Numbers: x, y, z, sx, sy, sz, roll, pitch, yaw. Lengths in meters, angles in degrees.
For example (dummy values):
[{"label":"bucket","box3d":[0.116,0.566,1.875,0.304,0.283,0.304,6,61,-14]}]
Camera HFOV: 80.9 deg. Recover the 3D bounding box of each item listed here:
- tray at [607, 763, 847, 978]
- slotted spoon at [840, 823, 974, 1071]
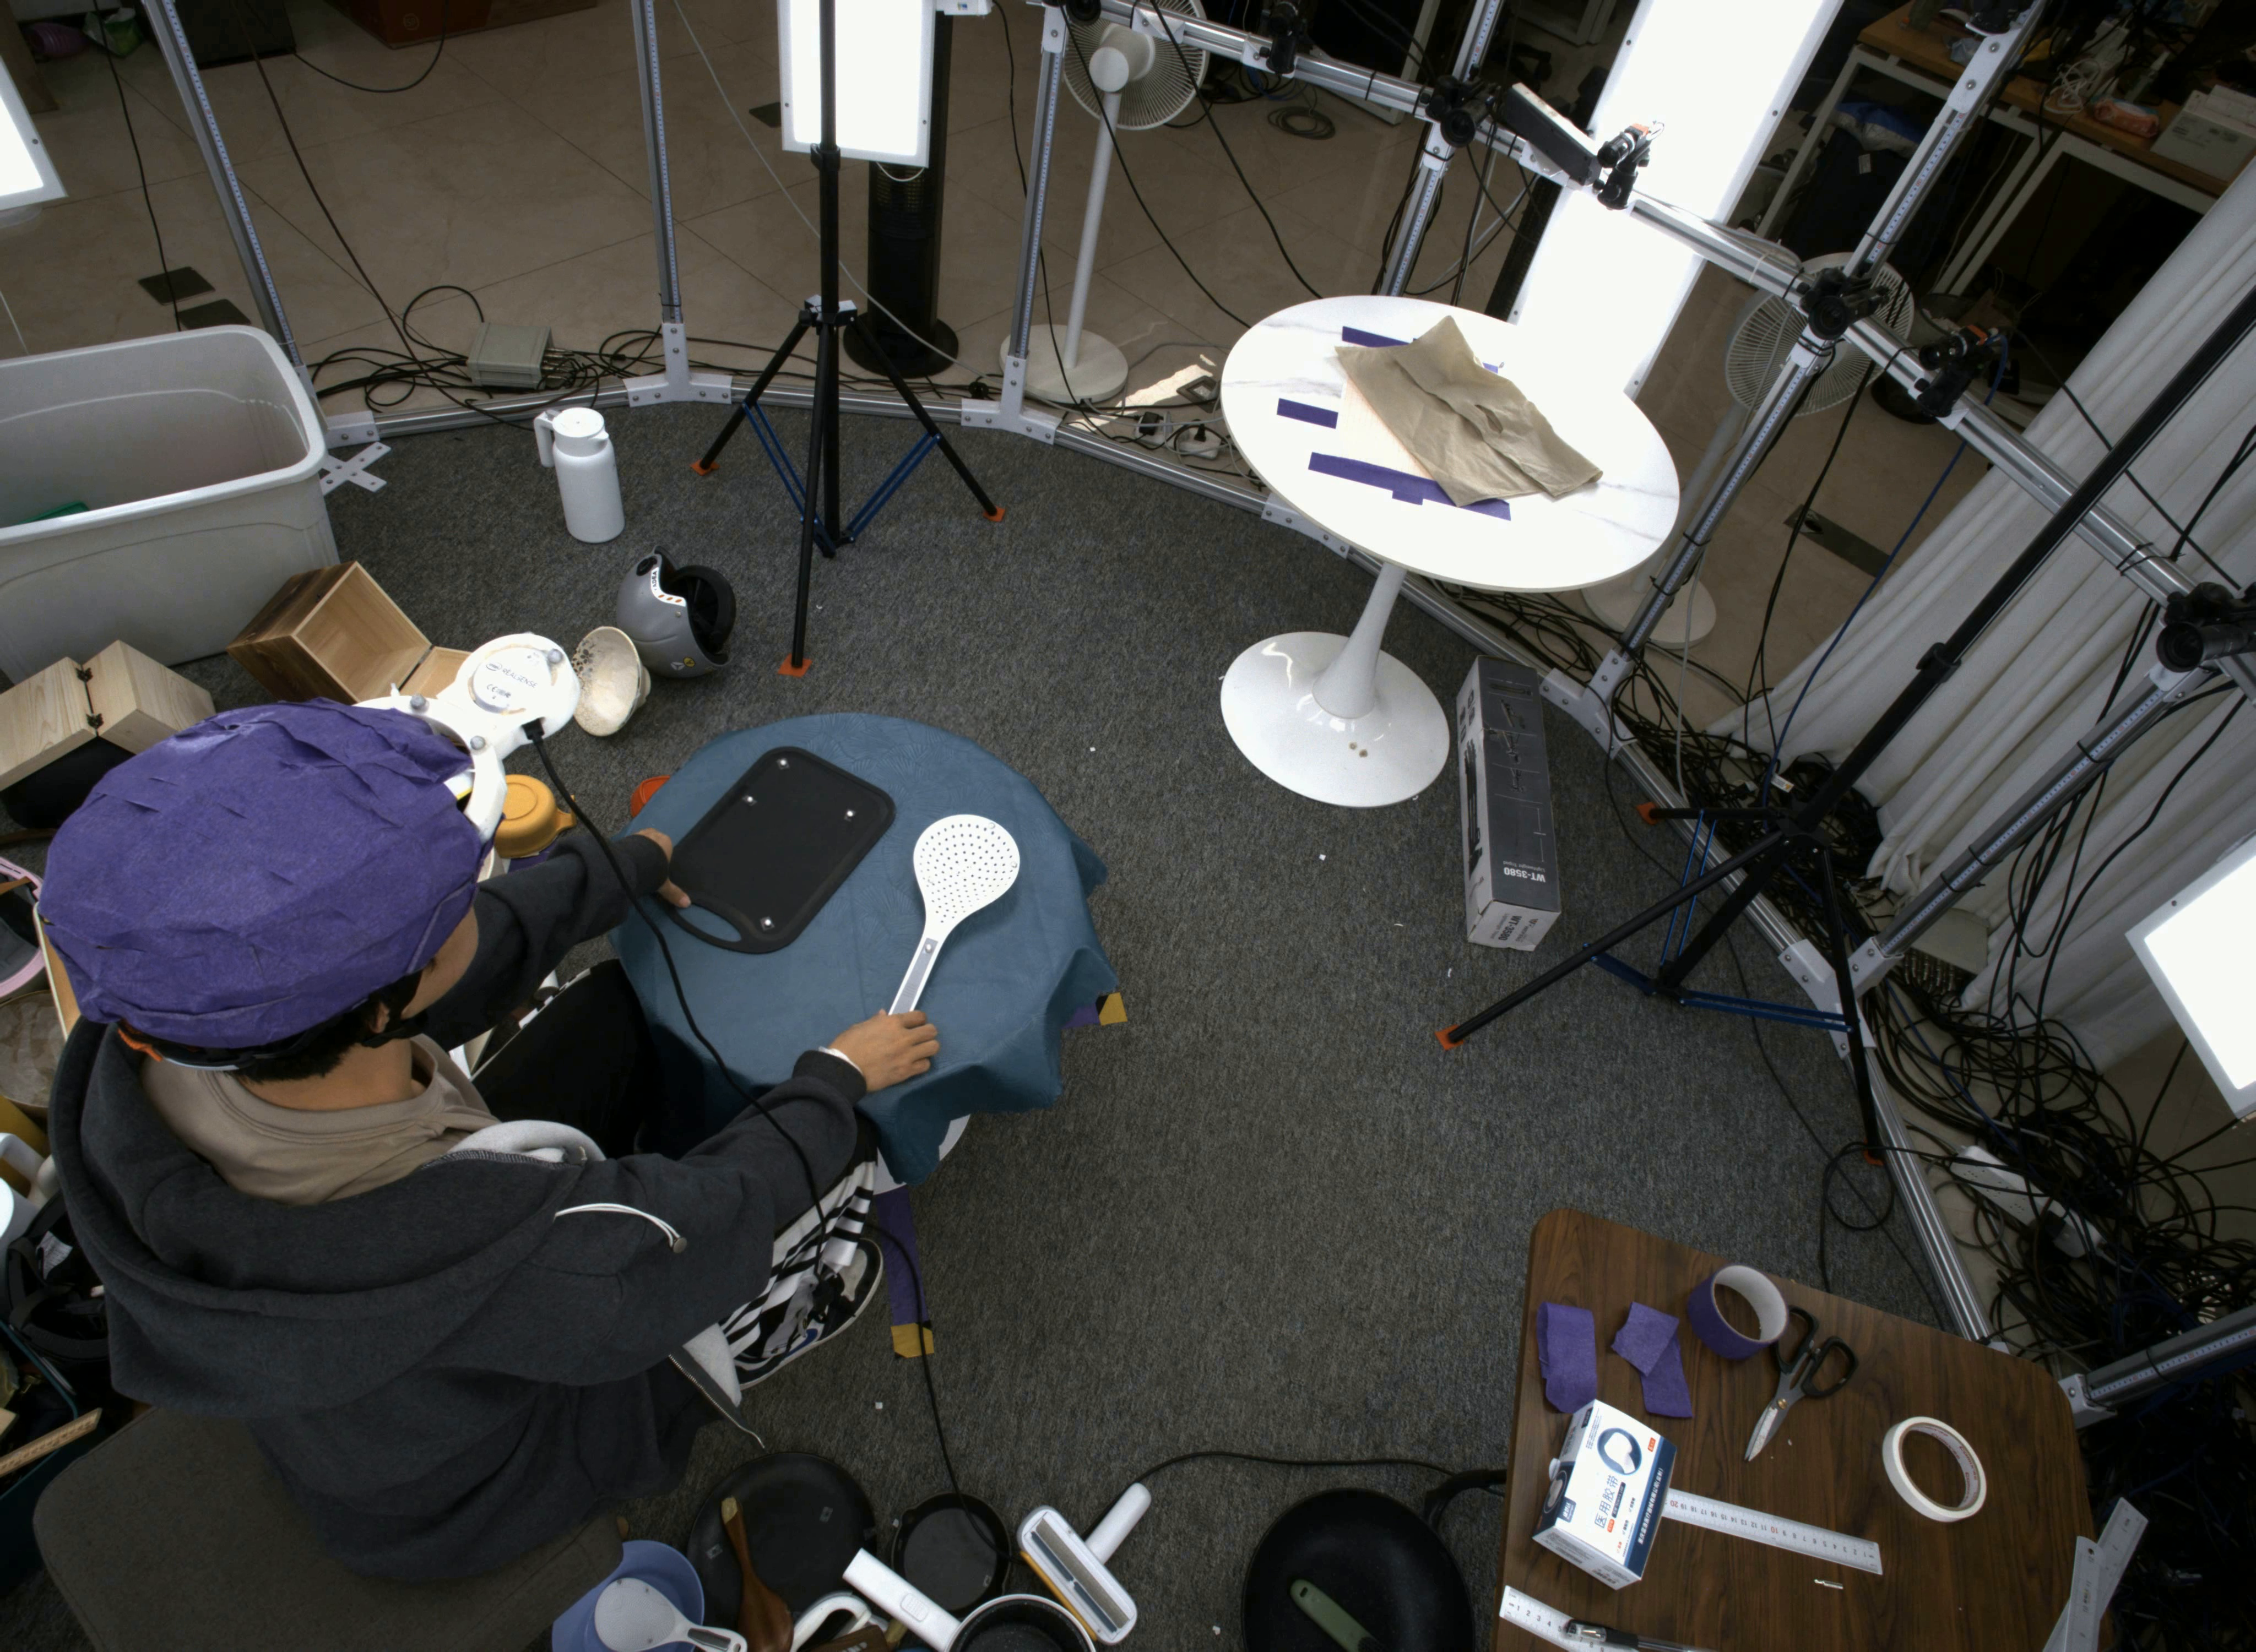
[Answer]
[{"label":"tray","box3d":[-0.518,0.052,1.662,0.208,0.010,0.323,25,52,5]},{"label":"slotted spoon","box3d":[-0.290,0.144,1.627,0.135,0.046,0.345,16,53,-1]}]
